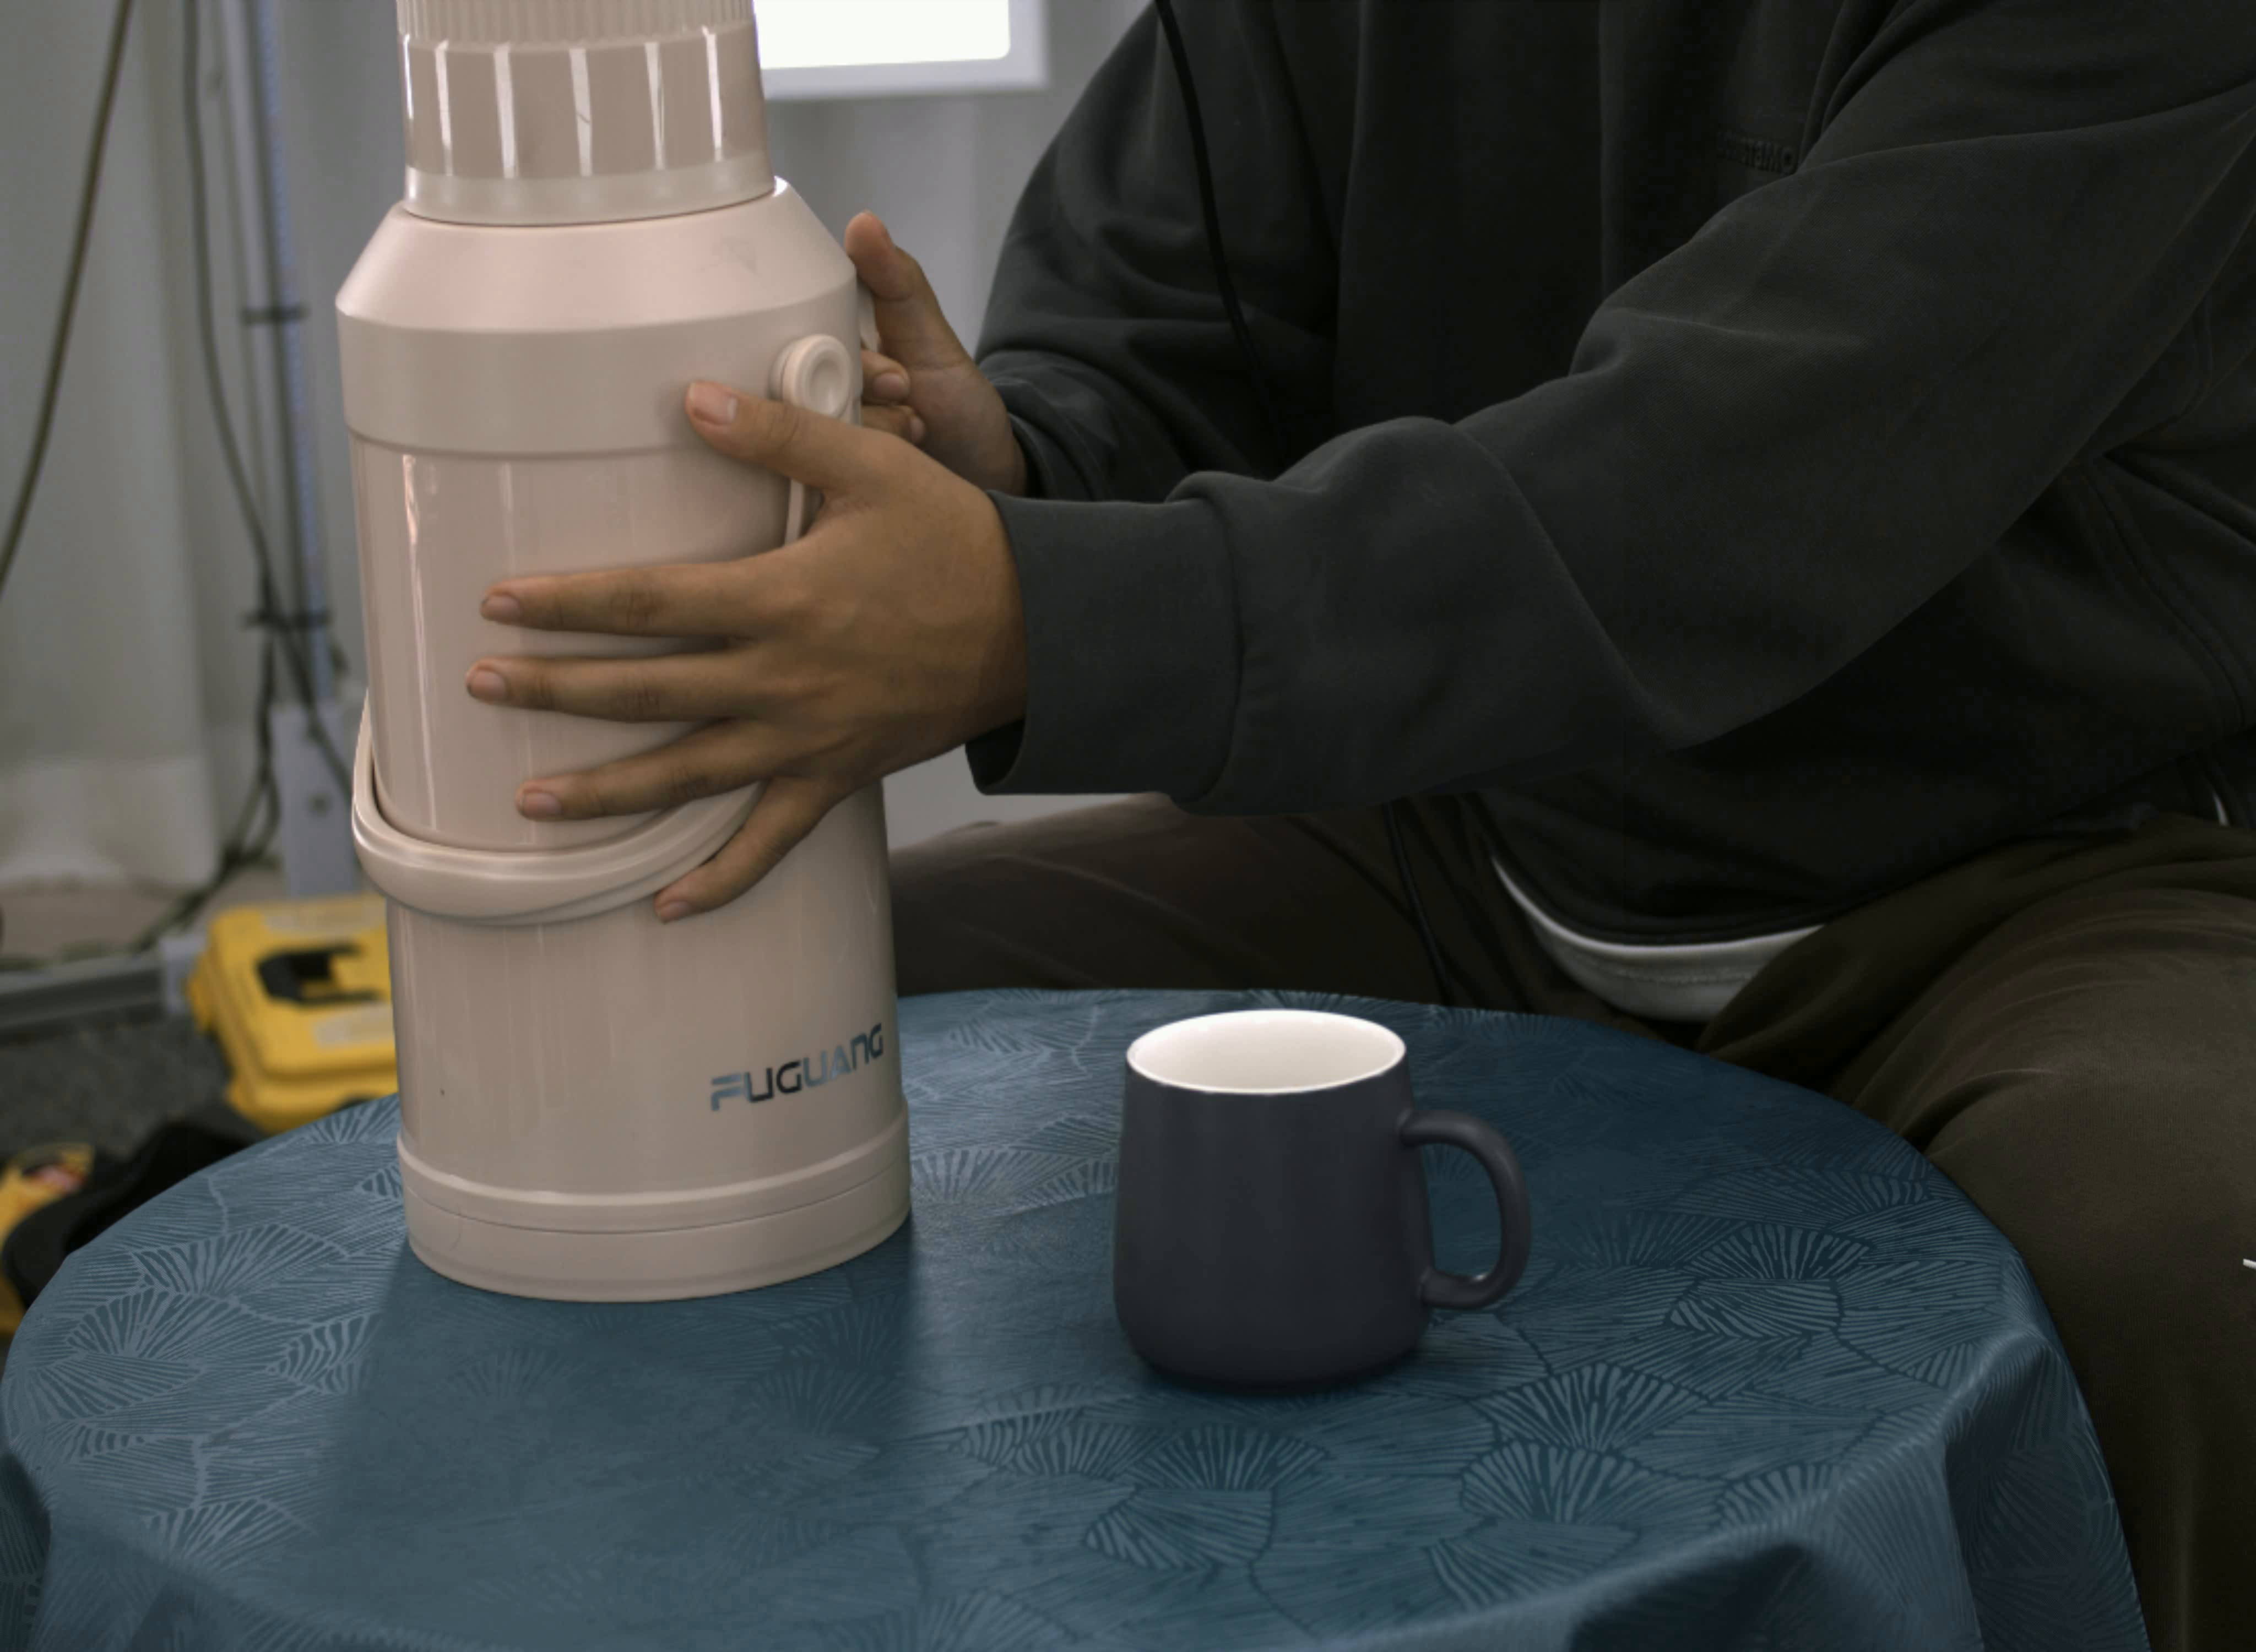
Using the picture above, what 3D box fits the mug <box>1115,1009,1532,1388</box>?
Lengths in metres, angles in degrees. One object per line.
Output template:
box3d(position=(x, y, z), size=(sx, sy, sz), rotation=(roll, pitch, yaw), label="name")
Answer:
box3d(position=(0.056, 0.107, 1.559), size=(0.123, 0.089, 0.094), rotation=(3, 16, 23), label="mug")

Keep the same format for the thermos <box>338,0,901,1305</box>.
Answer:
box3d(position=(-0.146, -0.072, 1.677), size=(0.176, 0.405, 0.207), rotation=(7, 17, 35), label="thermos")
